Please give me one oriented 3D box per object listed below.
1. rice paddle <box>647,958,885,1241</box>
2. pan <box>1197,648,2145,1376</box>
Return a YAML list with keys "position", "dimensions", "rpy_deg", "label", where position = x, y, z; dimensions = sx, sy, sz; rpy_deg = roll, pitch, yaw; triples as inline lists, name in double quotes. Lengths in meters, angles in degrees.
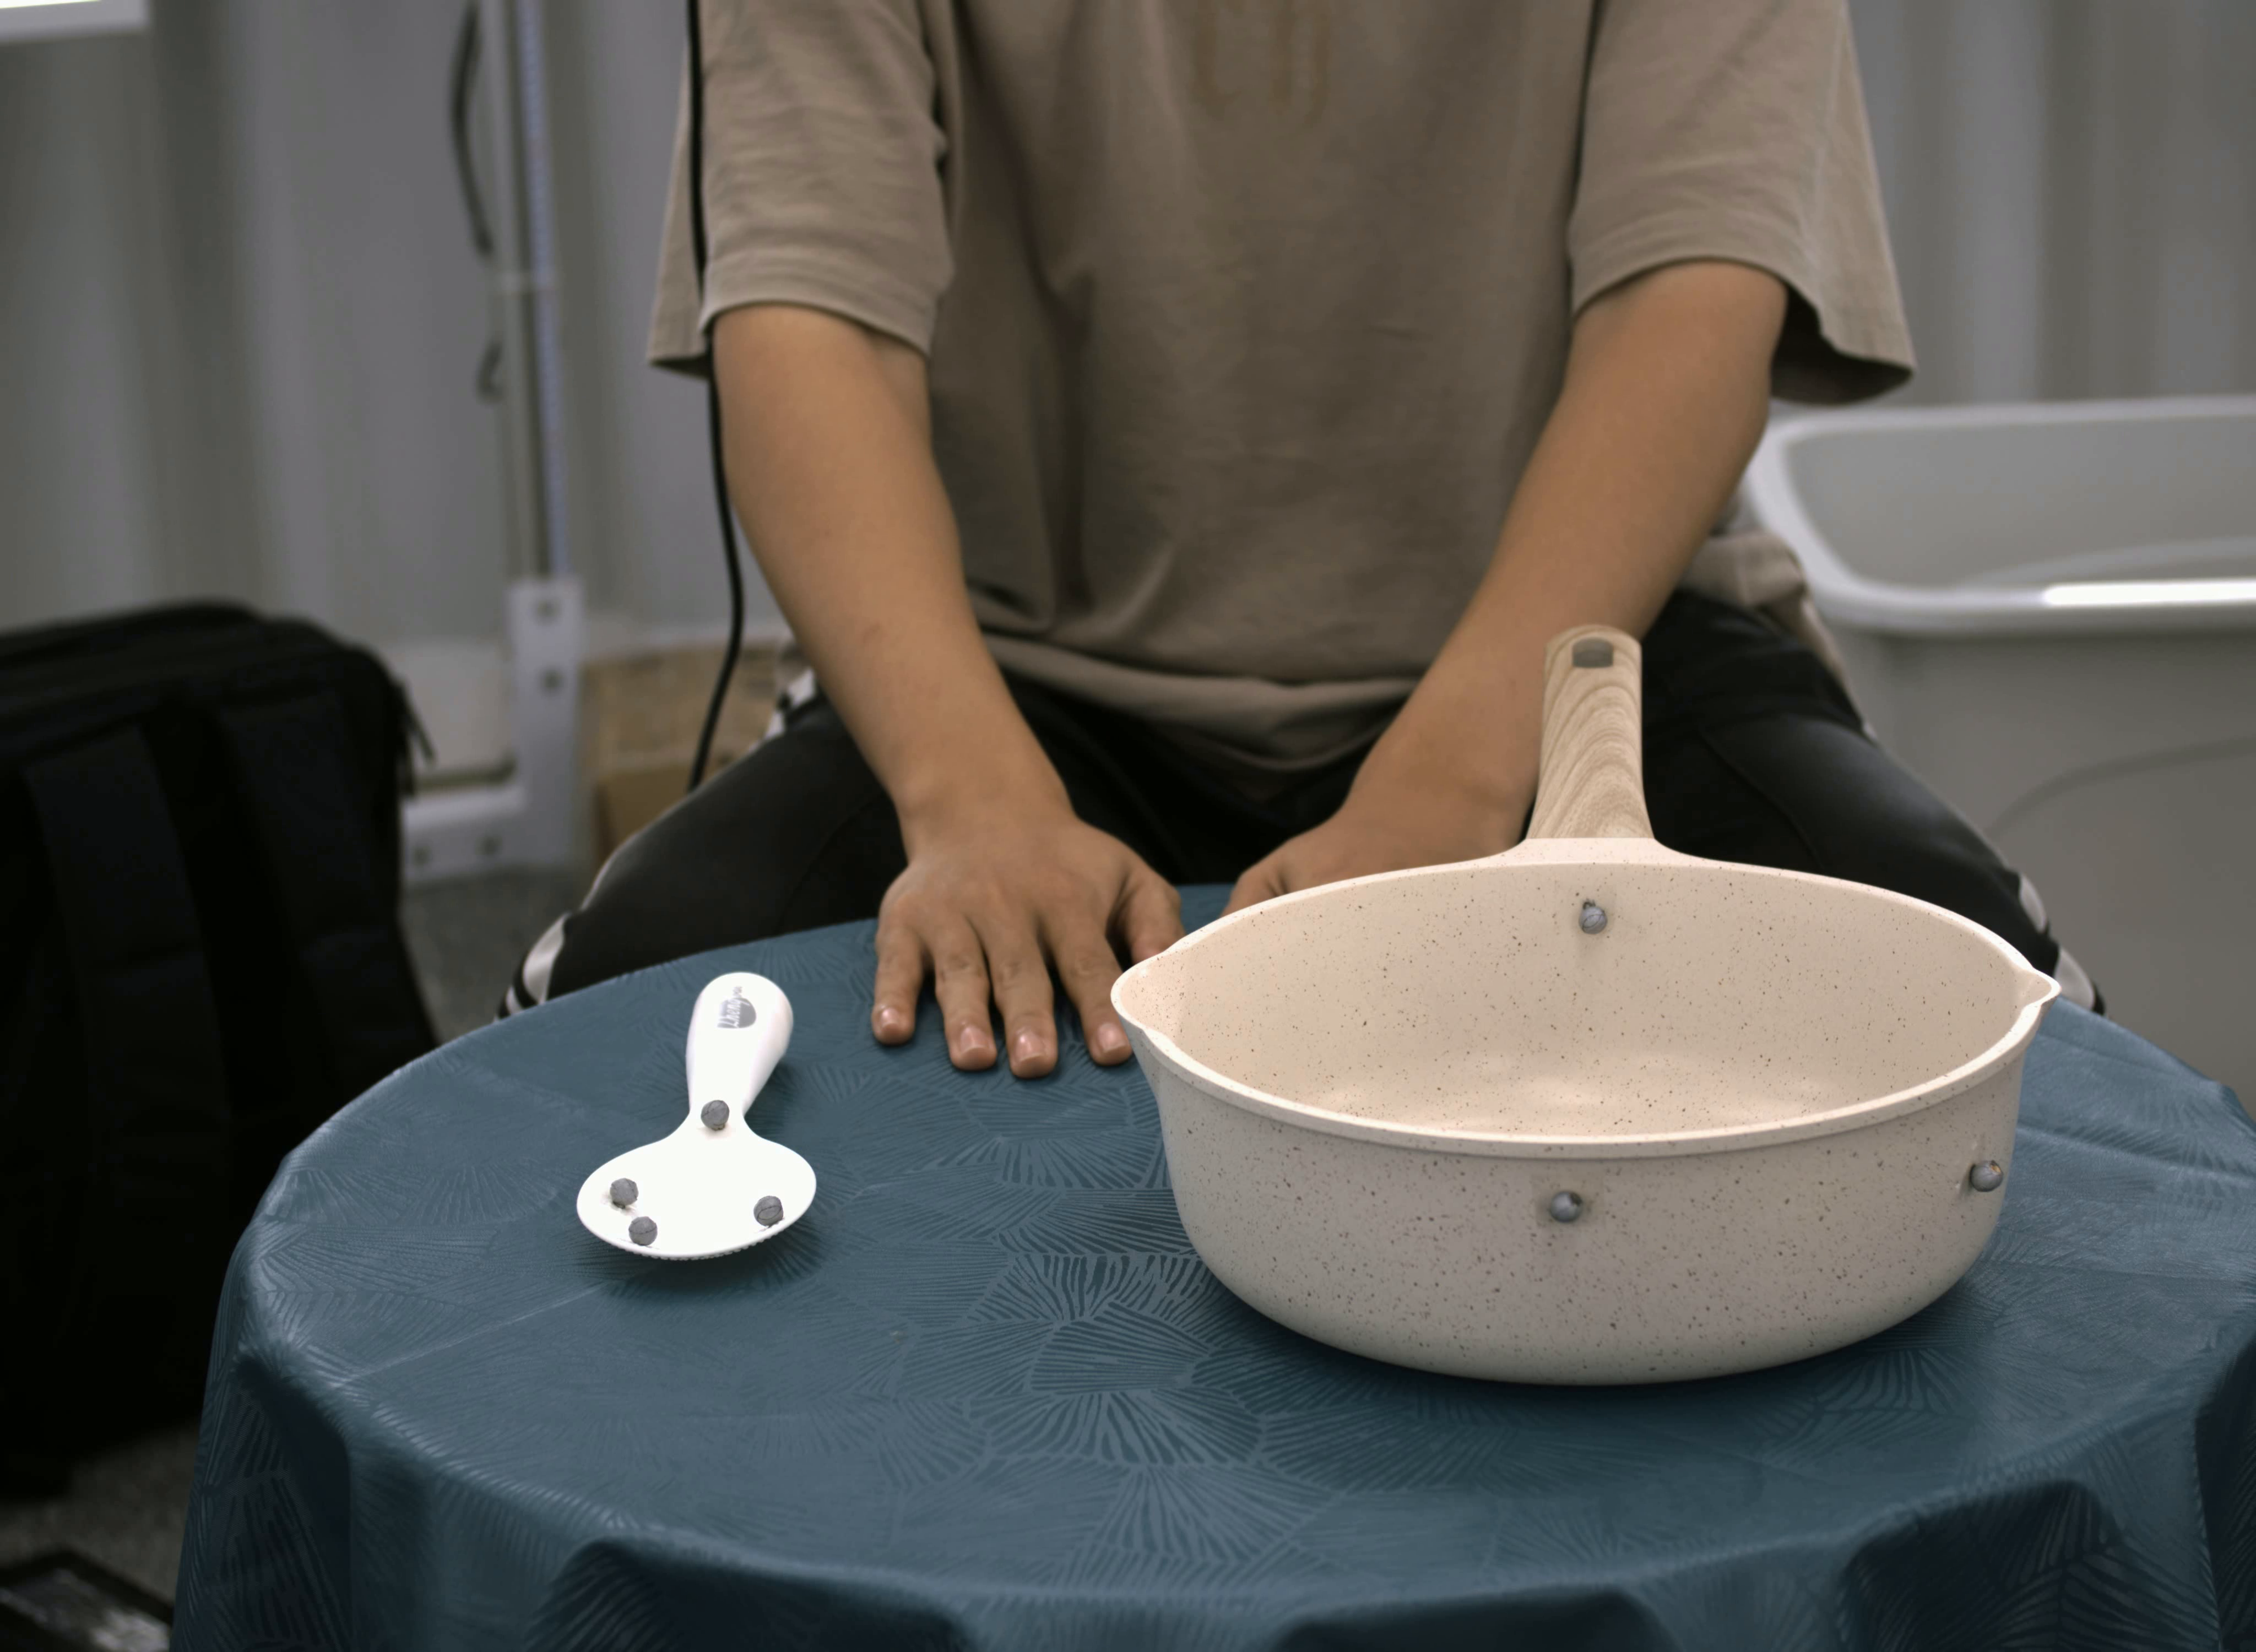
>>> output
- position: [-0.104, 0.084, 1.585]
  dimensions: [0.068, 0.029, 0.206]
  rpy_deg: [-3, 16, 1]
  label: "rice paddle"
- position: [0.159, 0.049, 1.558]
  dimensions: [0.263, 0.102, 0.435]
  rpy_deg: [-3, 15, 6]
  label: "pan"
